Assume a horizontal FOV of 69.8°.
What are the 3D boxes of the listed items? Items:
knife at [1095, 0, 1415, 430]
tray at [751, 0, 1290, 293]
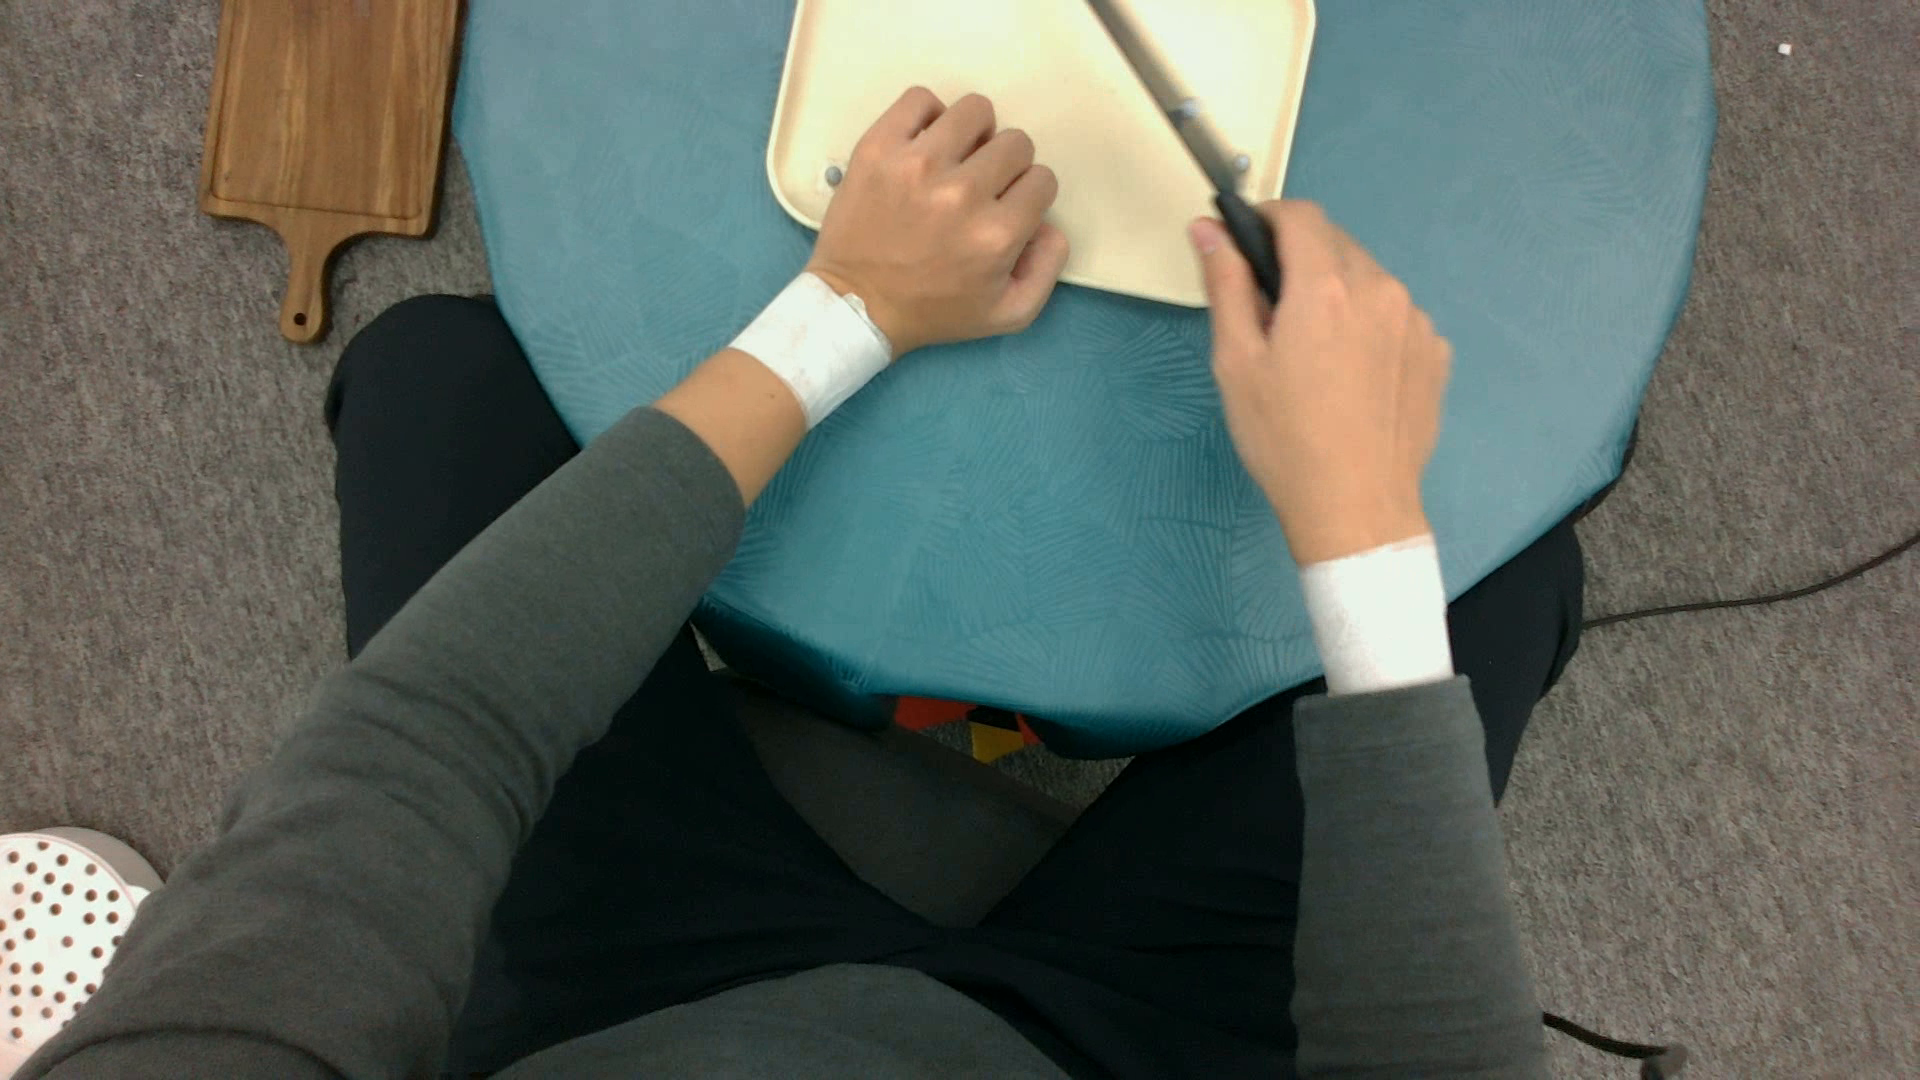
[{"bbox_3d":[0.101,-0.170,0.555,0.021,0.081,0.302,-27,104,38],"label":"knife"},{"bbox_3d":[0.029,-0.215,0.653,0.240,0.017,0.171,11,88,-2],"label":"tray"}]
